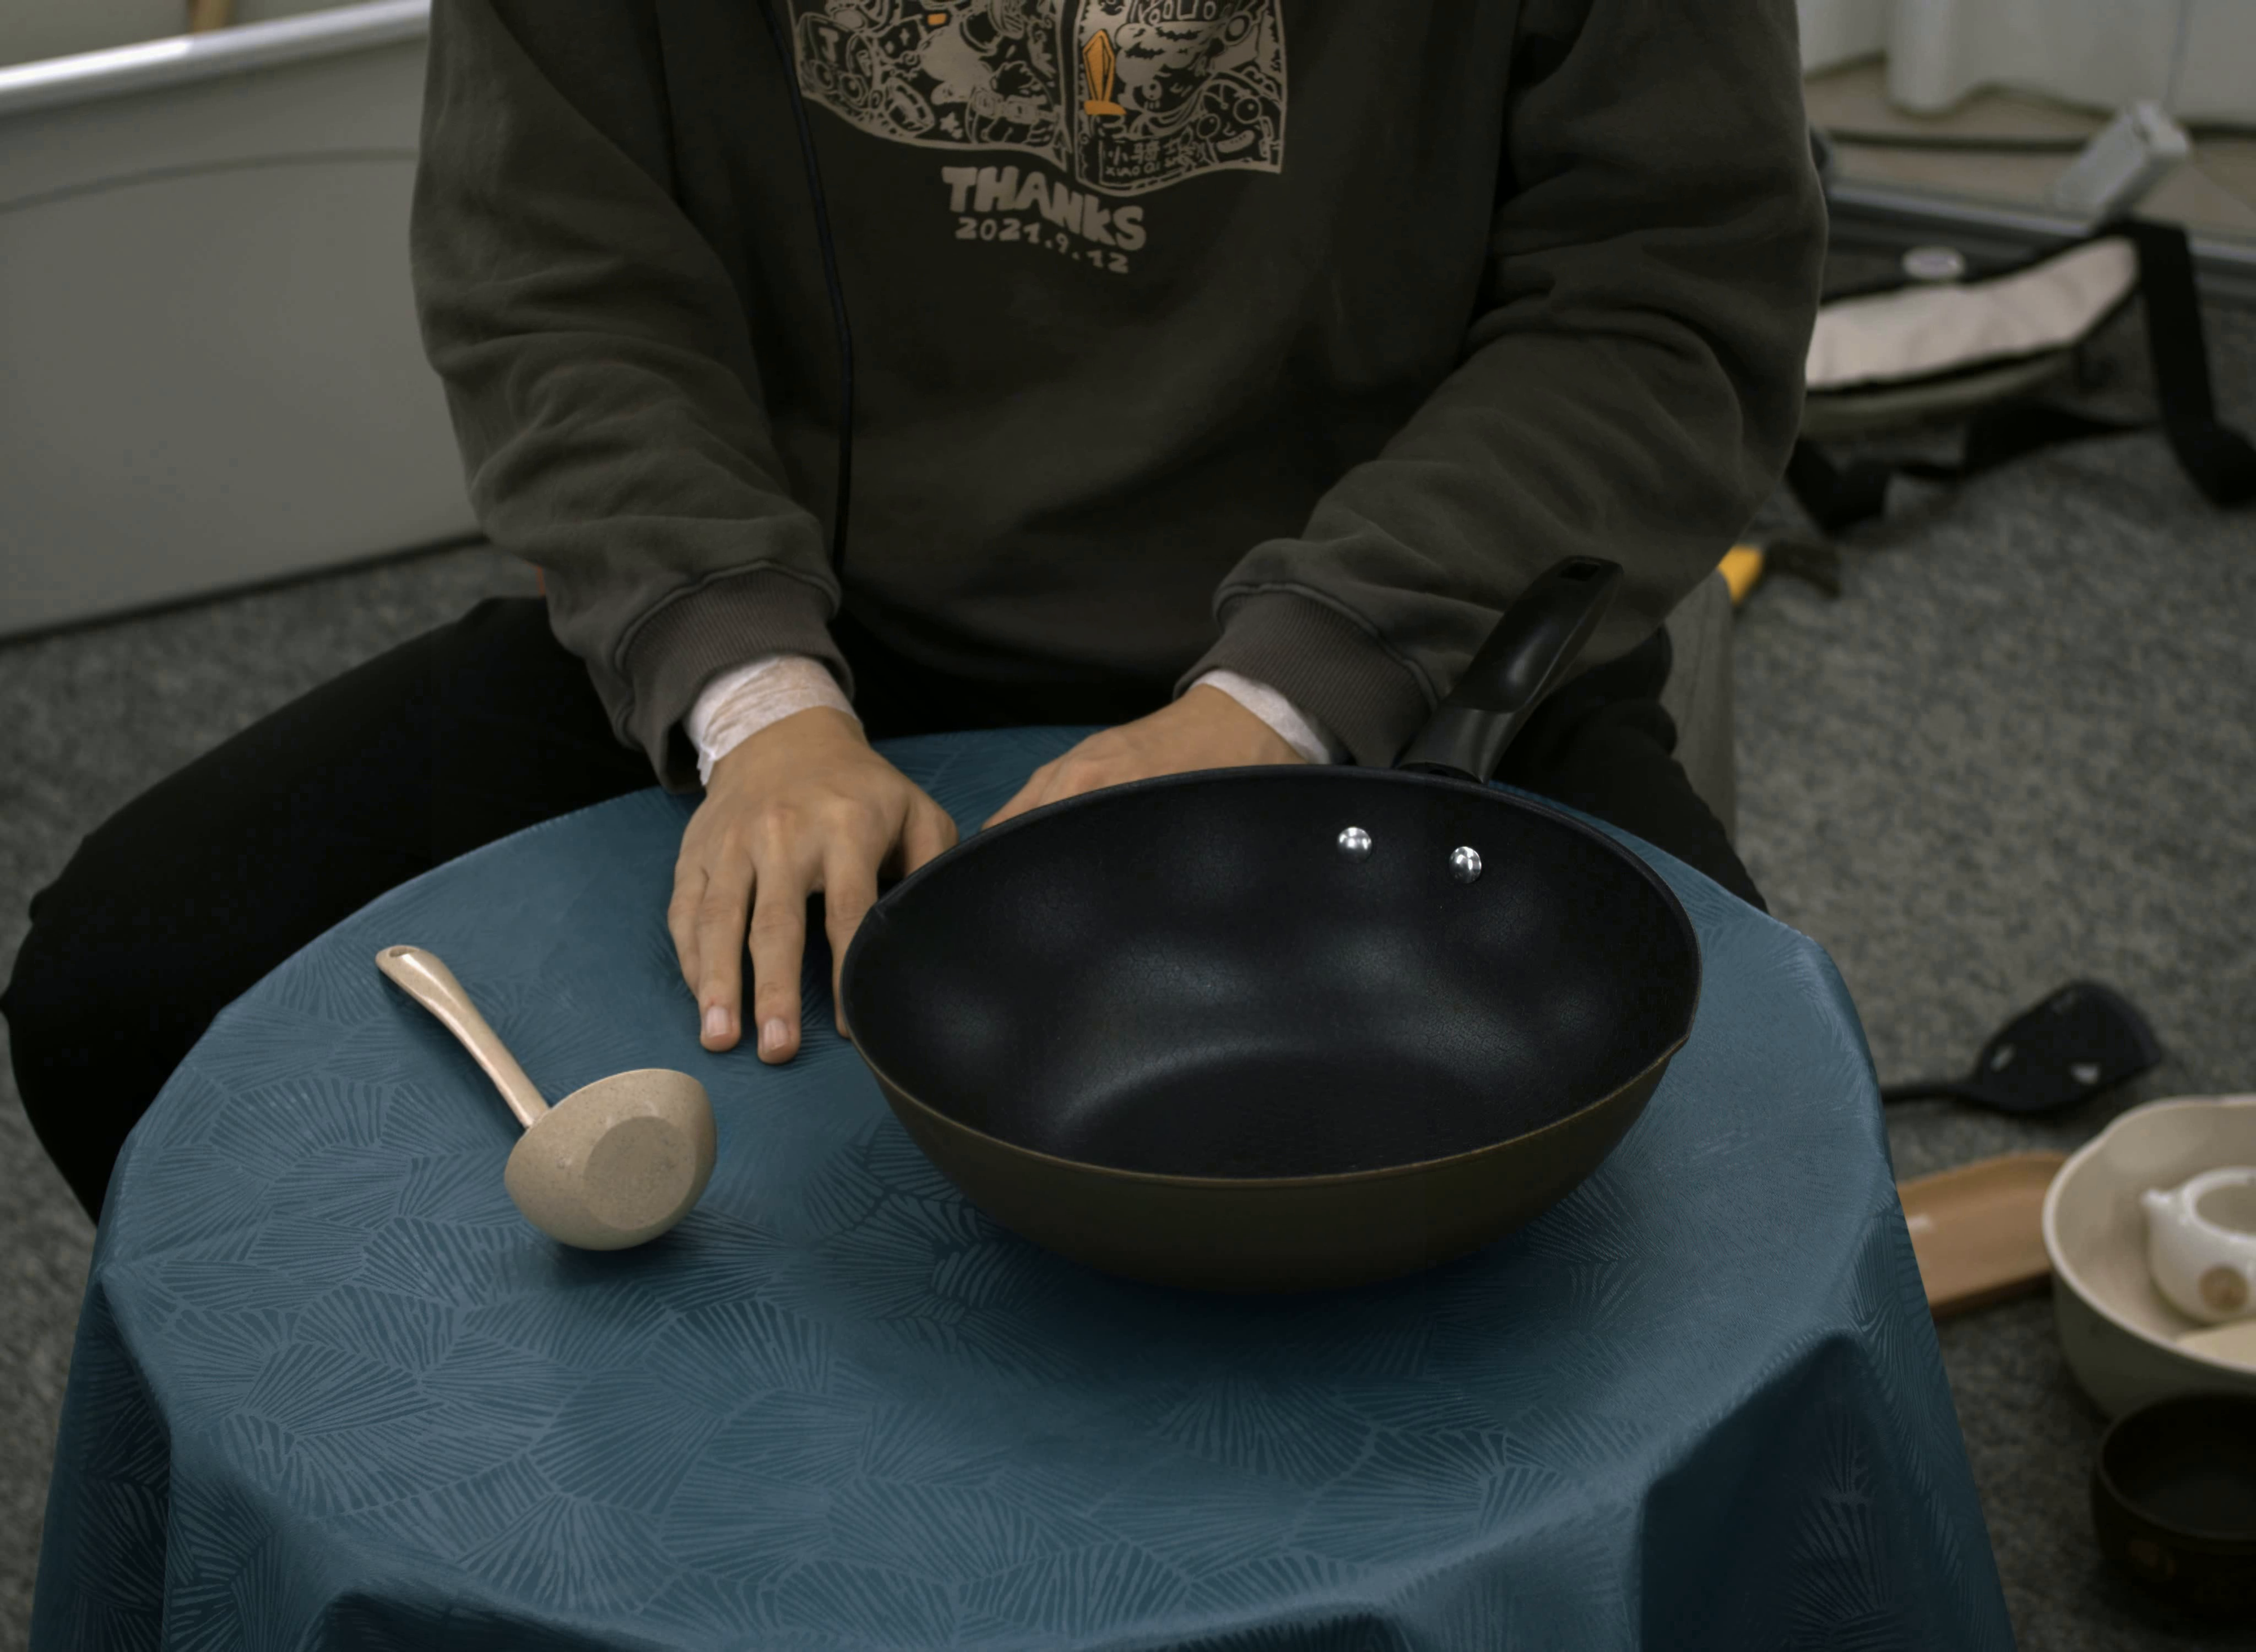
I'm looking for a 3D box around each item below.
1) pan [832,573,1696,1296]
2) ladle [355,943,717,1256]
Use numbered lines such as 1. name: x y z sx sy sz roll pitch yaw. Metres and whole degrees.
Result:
1. pan: 0.082 0.038 1.925 0.286 0.086 0.471 9 29 22
2. ladle: -0.216 0.066 1.910 0.072 0.072 0.256 -18 32 -23
